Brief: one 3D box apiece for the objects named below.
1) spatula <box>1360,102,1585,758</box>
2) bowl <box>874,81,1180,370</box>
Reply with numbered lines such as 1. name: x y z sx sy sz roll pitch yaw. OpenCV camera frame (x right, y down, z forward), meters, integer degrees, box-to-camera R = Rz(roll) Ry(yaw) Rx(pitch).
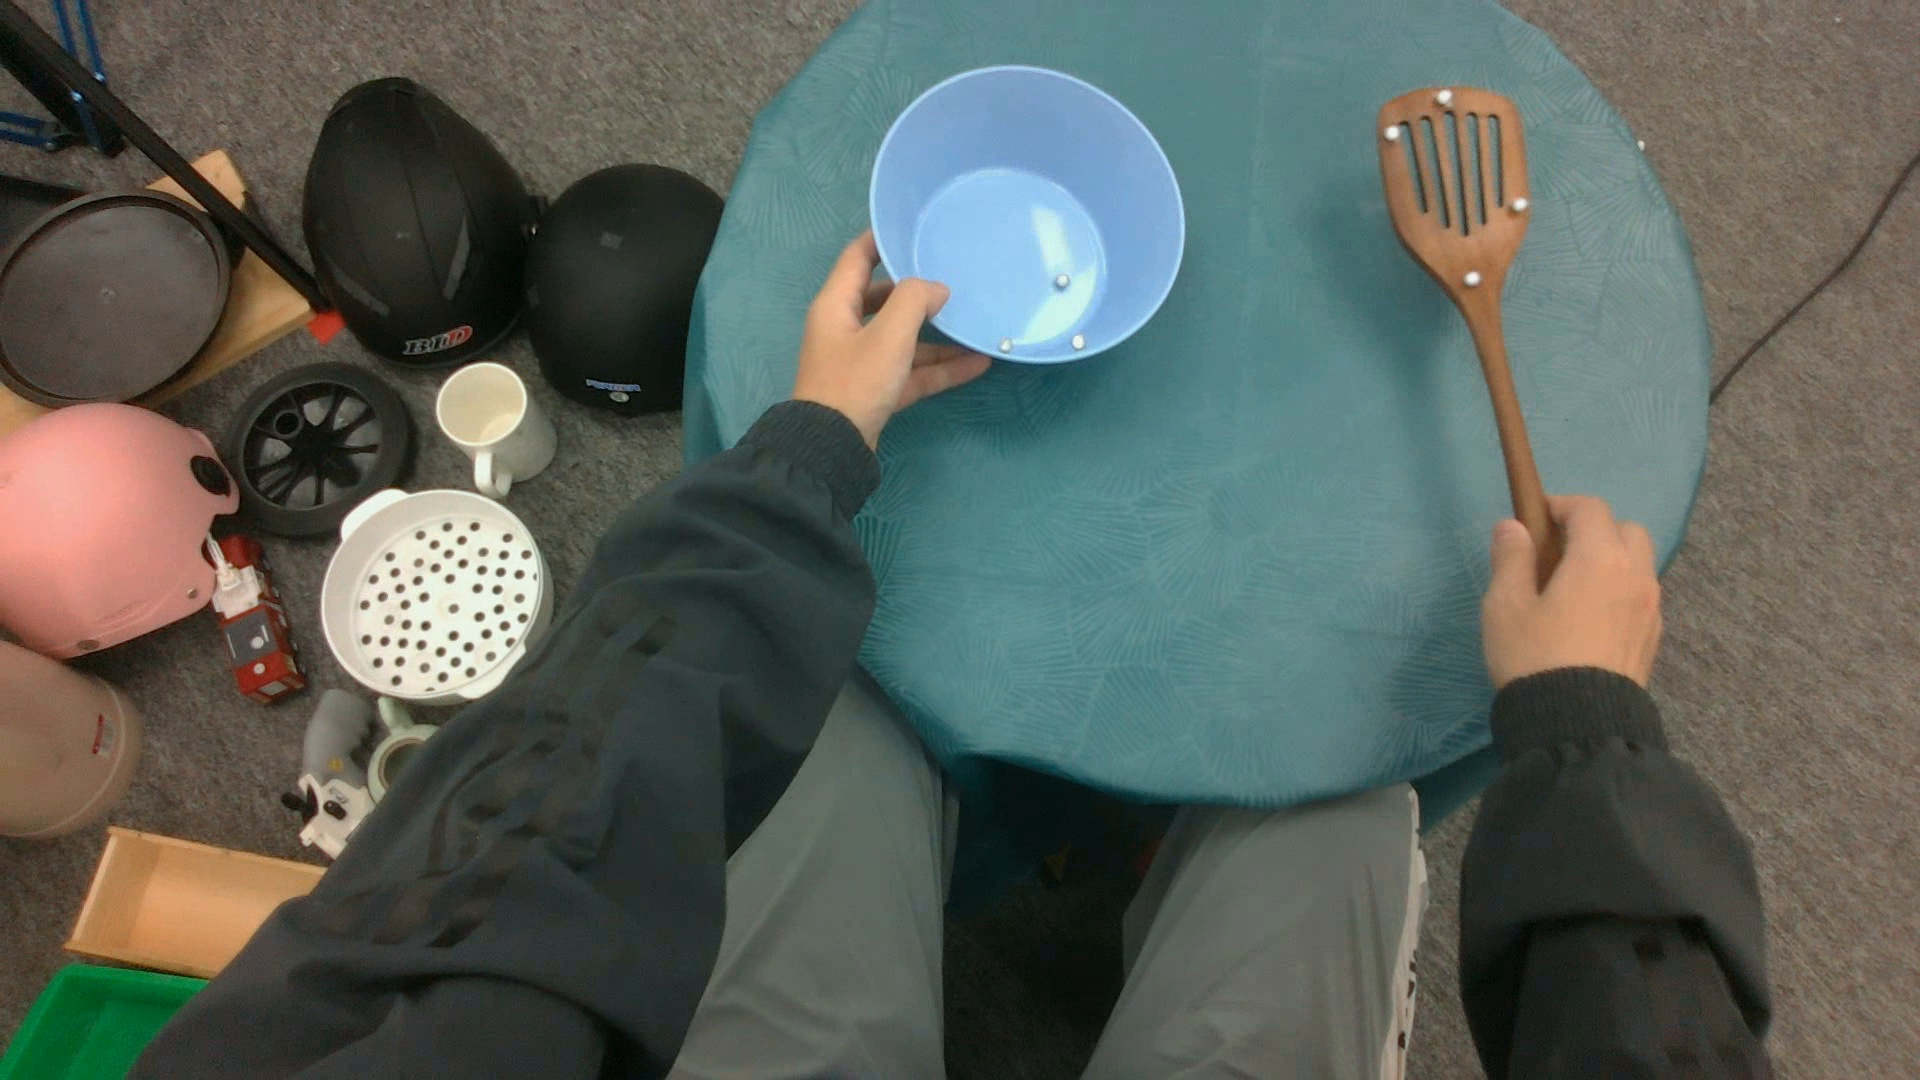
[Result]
1. spatula: 0.290 -0.072 0.758 0.085 0.024 0.388 -4 71 -1
2. bowl: 0.034 -0.171 0.800 0.176 0.070 0.176 2 76 -8
